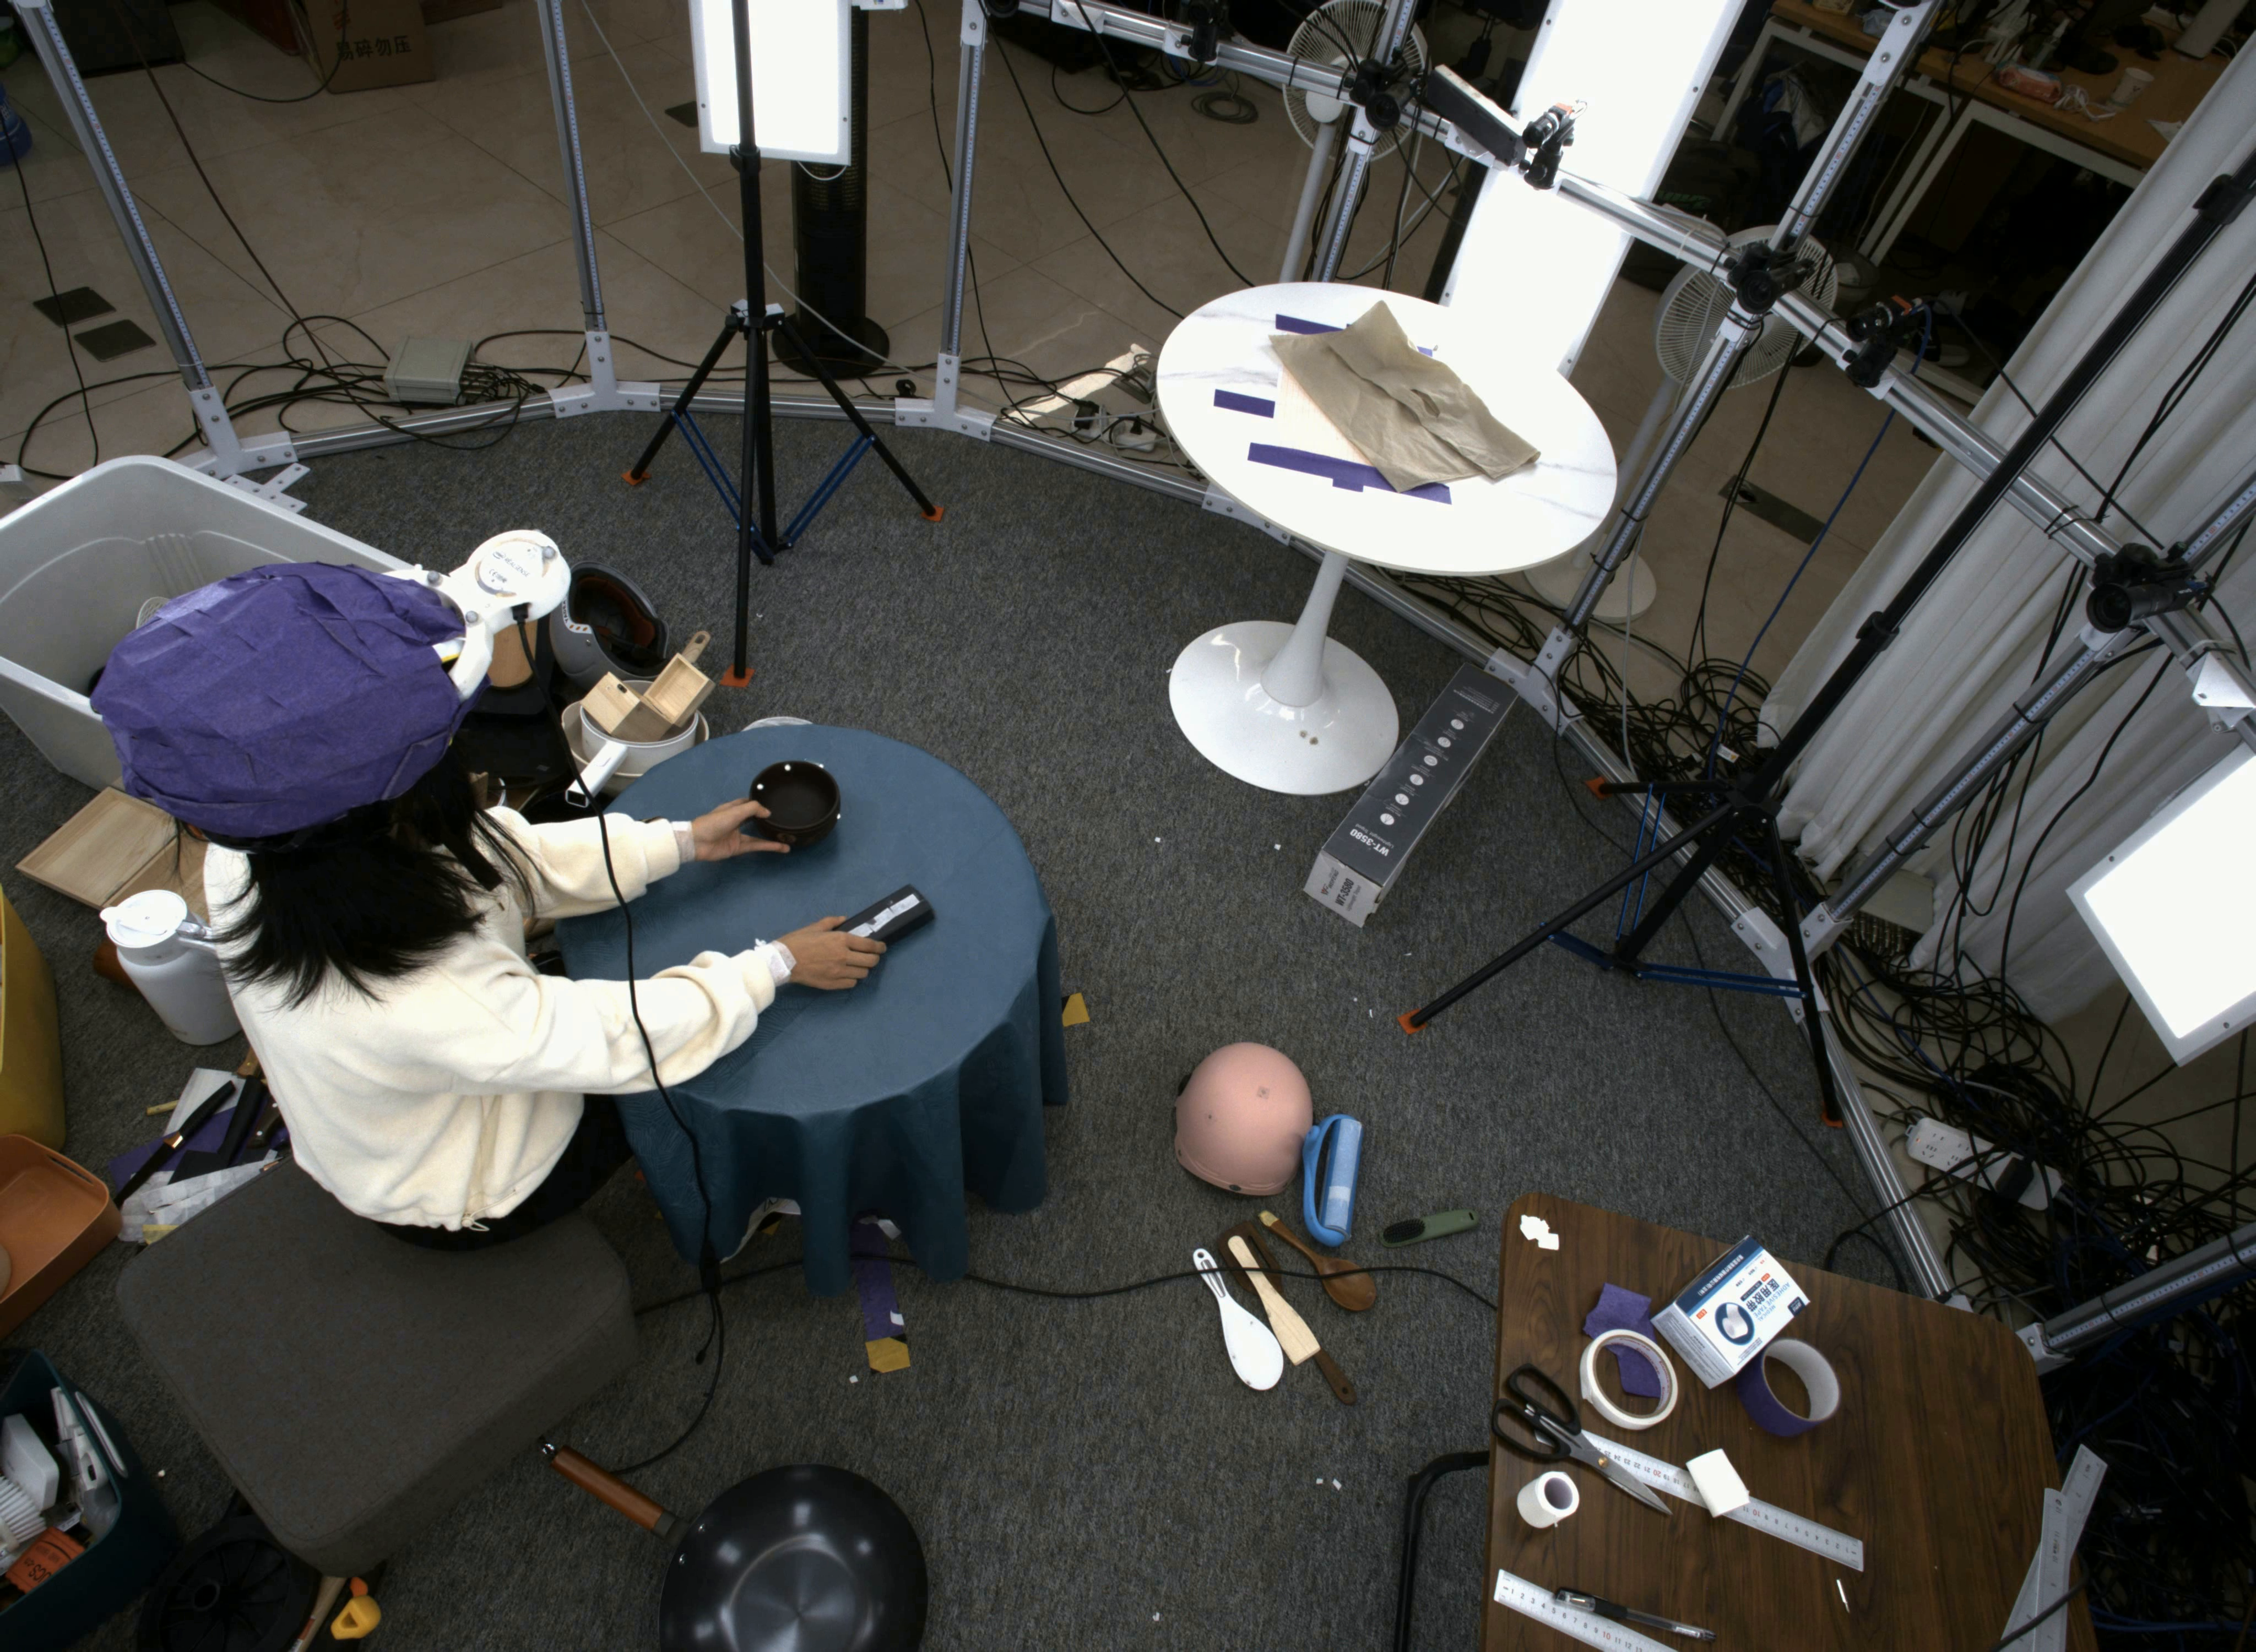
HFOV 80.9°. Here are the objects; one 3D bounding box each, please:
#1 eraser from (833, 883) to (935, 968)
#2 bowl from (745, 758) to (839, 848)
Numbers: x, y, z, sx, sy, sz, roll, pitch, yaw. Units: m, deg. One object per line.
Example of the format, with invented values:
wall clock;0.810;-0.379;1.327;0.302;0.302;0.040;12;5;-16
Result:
eraser;-0.307;0.122;1.642;0.126;0.031;0.052;-34;66;-30
bowl;-0.436;-0.023;1.686;0.118;0.071;0.116;7;53;-8
